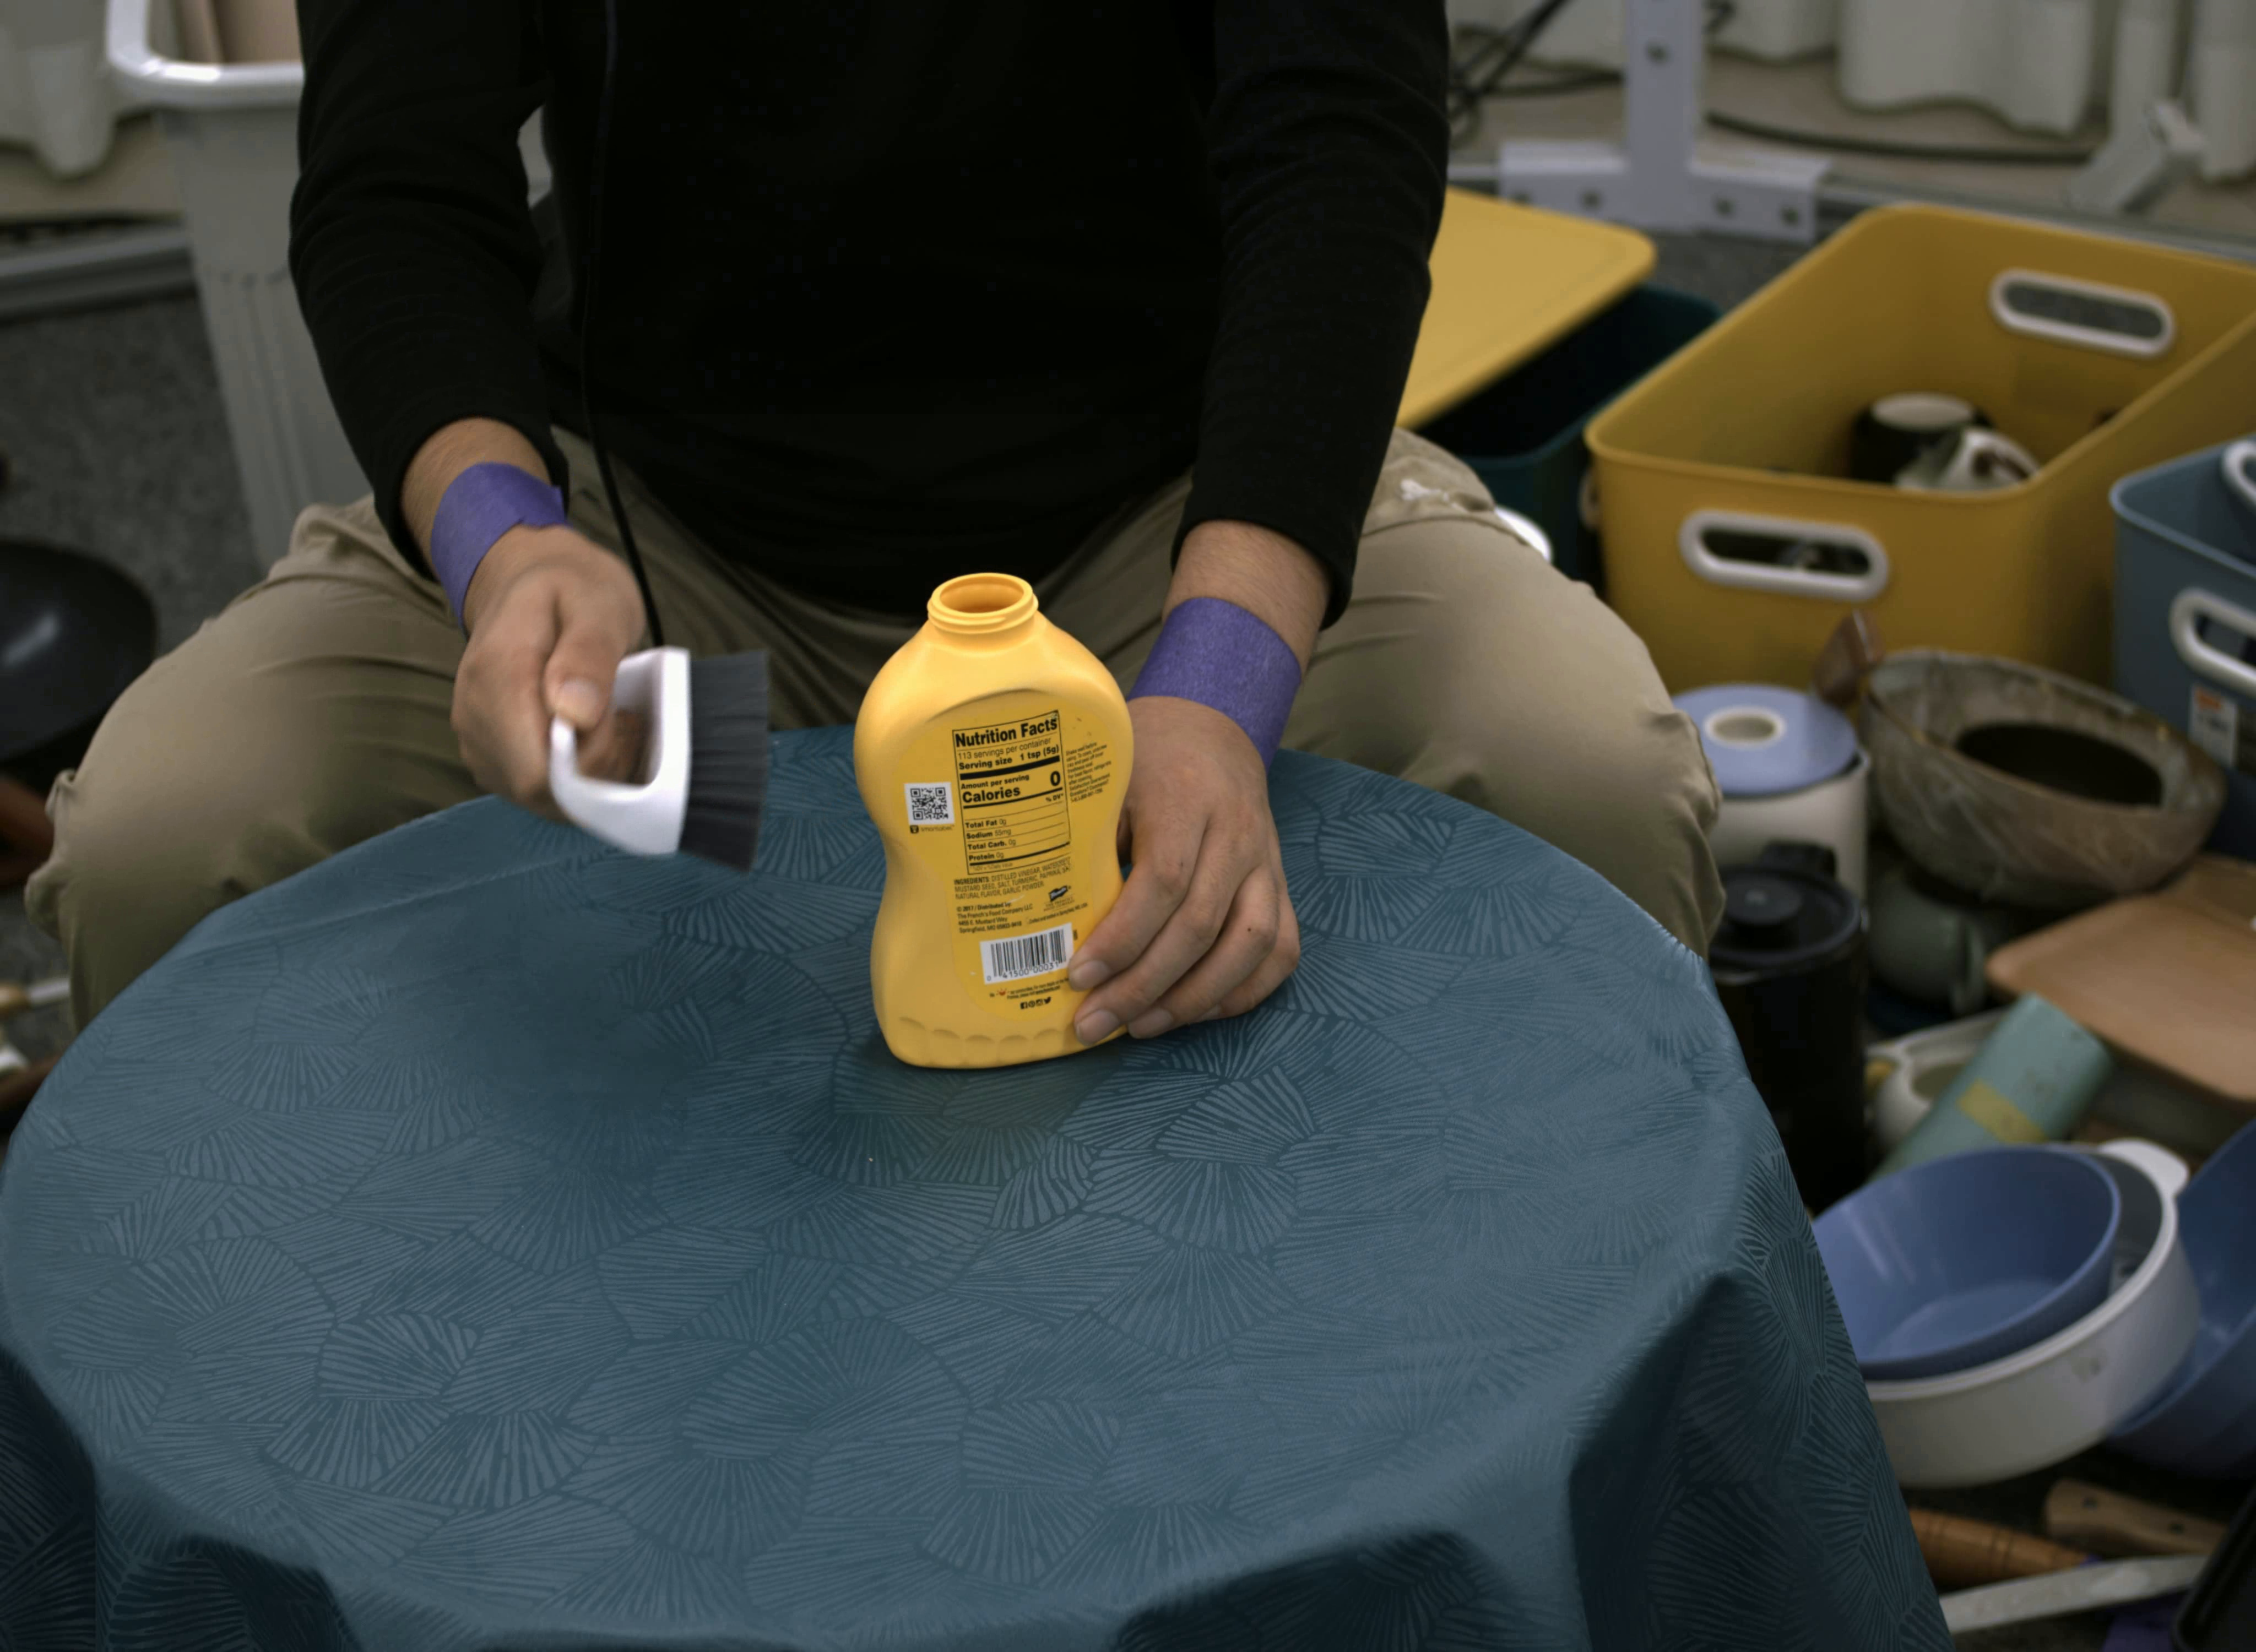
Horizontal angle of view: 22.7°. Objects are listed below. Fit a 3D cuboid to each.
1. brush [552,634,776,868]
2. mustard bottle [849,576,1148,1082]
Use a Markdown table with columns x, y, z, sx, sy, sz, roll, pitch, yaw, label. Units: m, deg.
| x | y | z | sx | sy | sz | roll | pitch | yaw | label |
| --- | --- | --- | --- | --- | --- | --- | --- | --- | --- |
| -0.159 | -0.028 | 1.909 | 0.072 | 0.049 | 0.101 | 7 | 34 | -11 | brush |
| -0.046 | 0.000 | 1.922 | 0.098 | 0.170 | 0.060 | -11 | 23 | -14 | mustard bottle |
